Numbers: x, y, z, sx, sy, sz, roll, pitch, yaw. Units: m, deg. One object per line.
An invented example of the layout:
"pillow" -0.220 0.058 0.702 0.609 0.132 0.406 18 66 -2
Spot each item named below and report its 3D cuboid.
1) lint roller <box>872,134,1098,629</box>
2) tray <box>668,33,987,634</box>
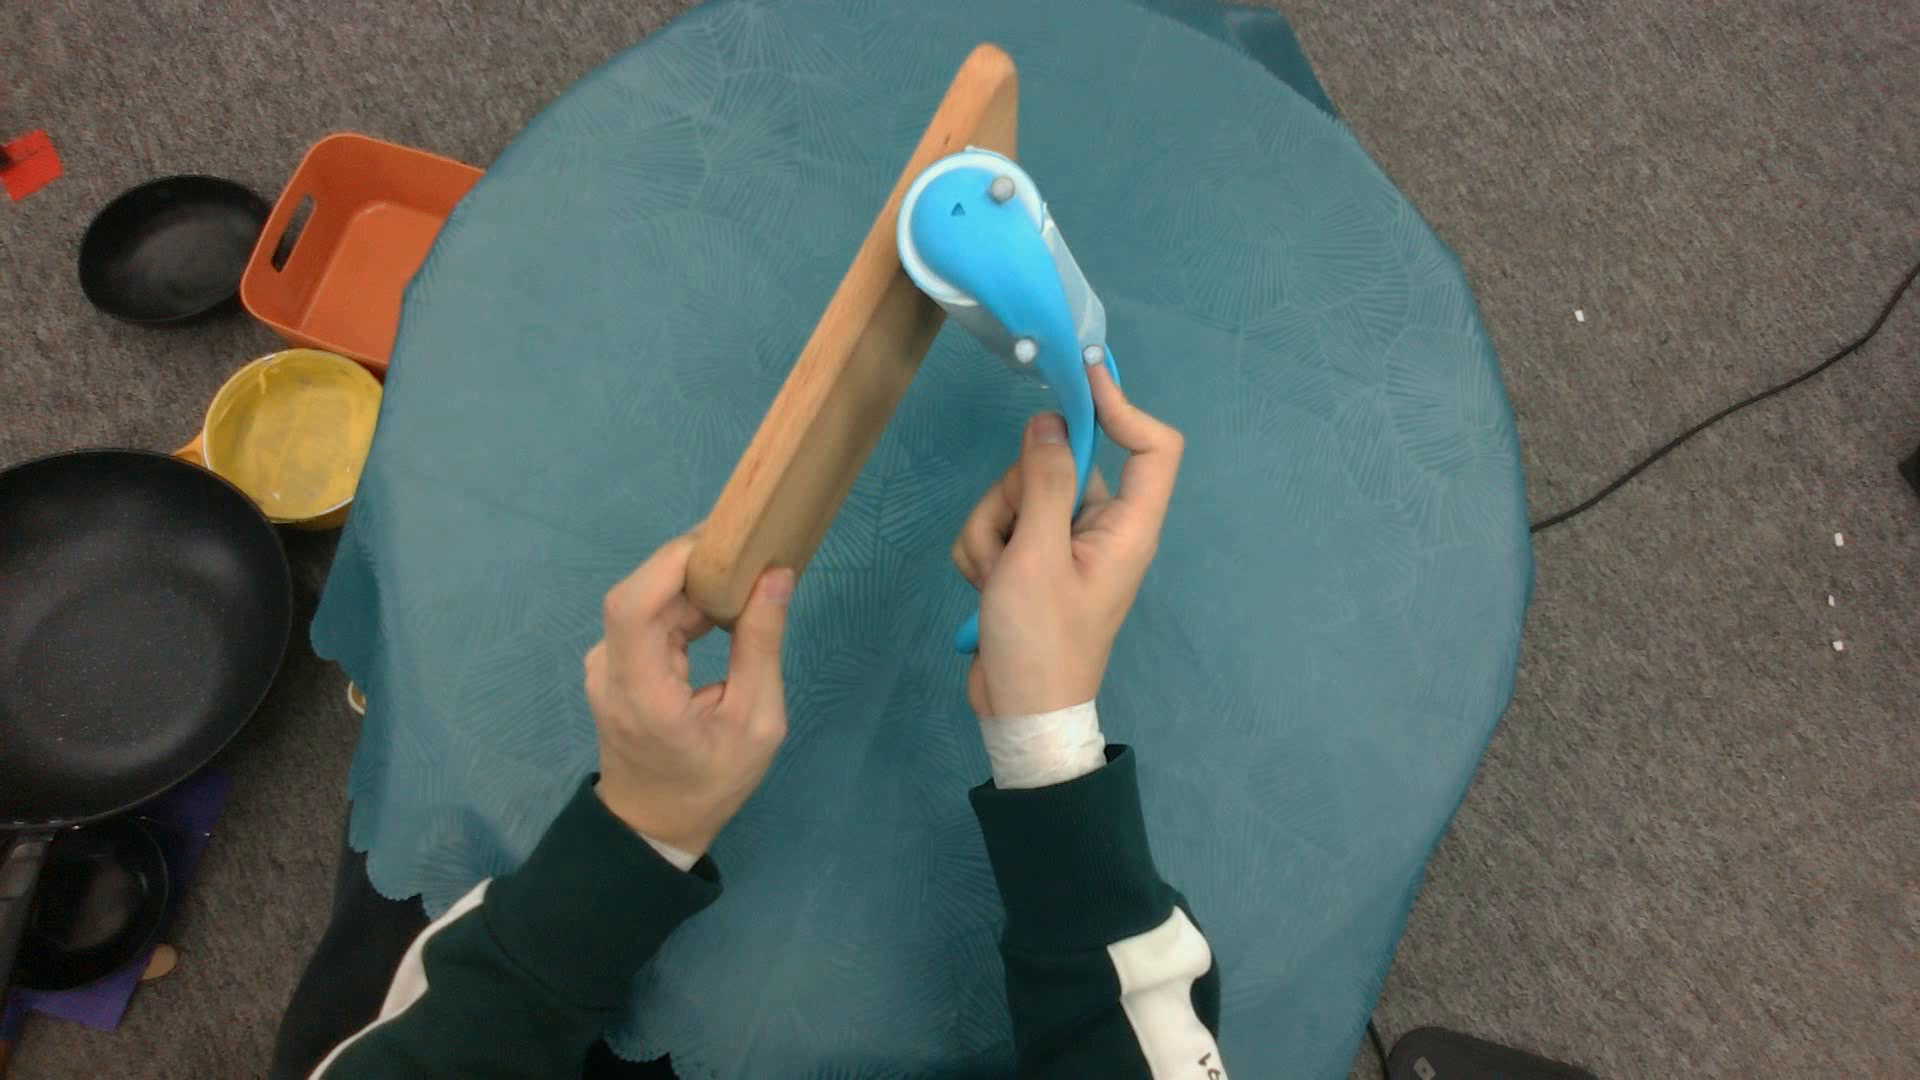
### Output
"lint roller" 0.018 -0.054 0.571 0.068 0.229 0.180 -3 91 10
"tray" -0.046 -0.079 0.564 0.023 0.130 0.251 23 78 8
